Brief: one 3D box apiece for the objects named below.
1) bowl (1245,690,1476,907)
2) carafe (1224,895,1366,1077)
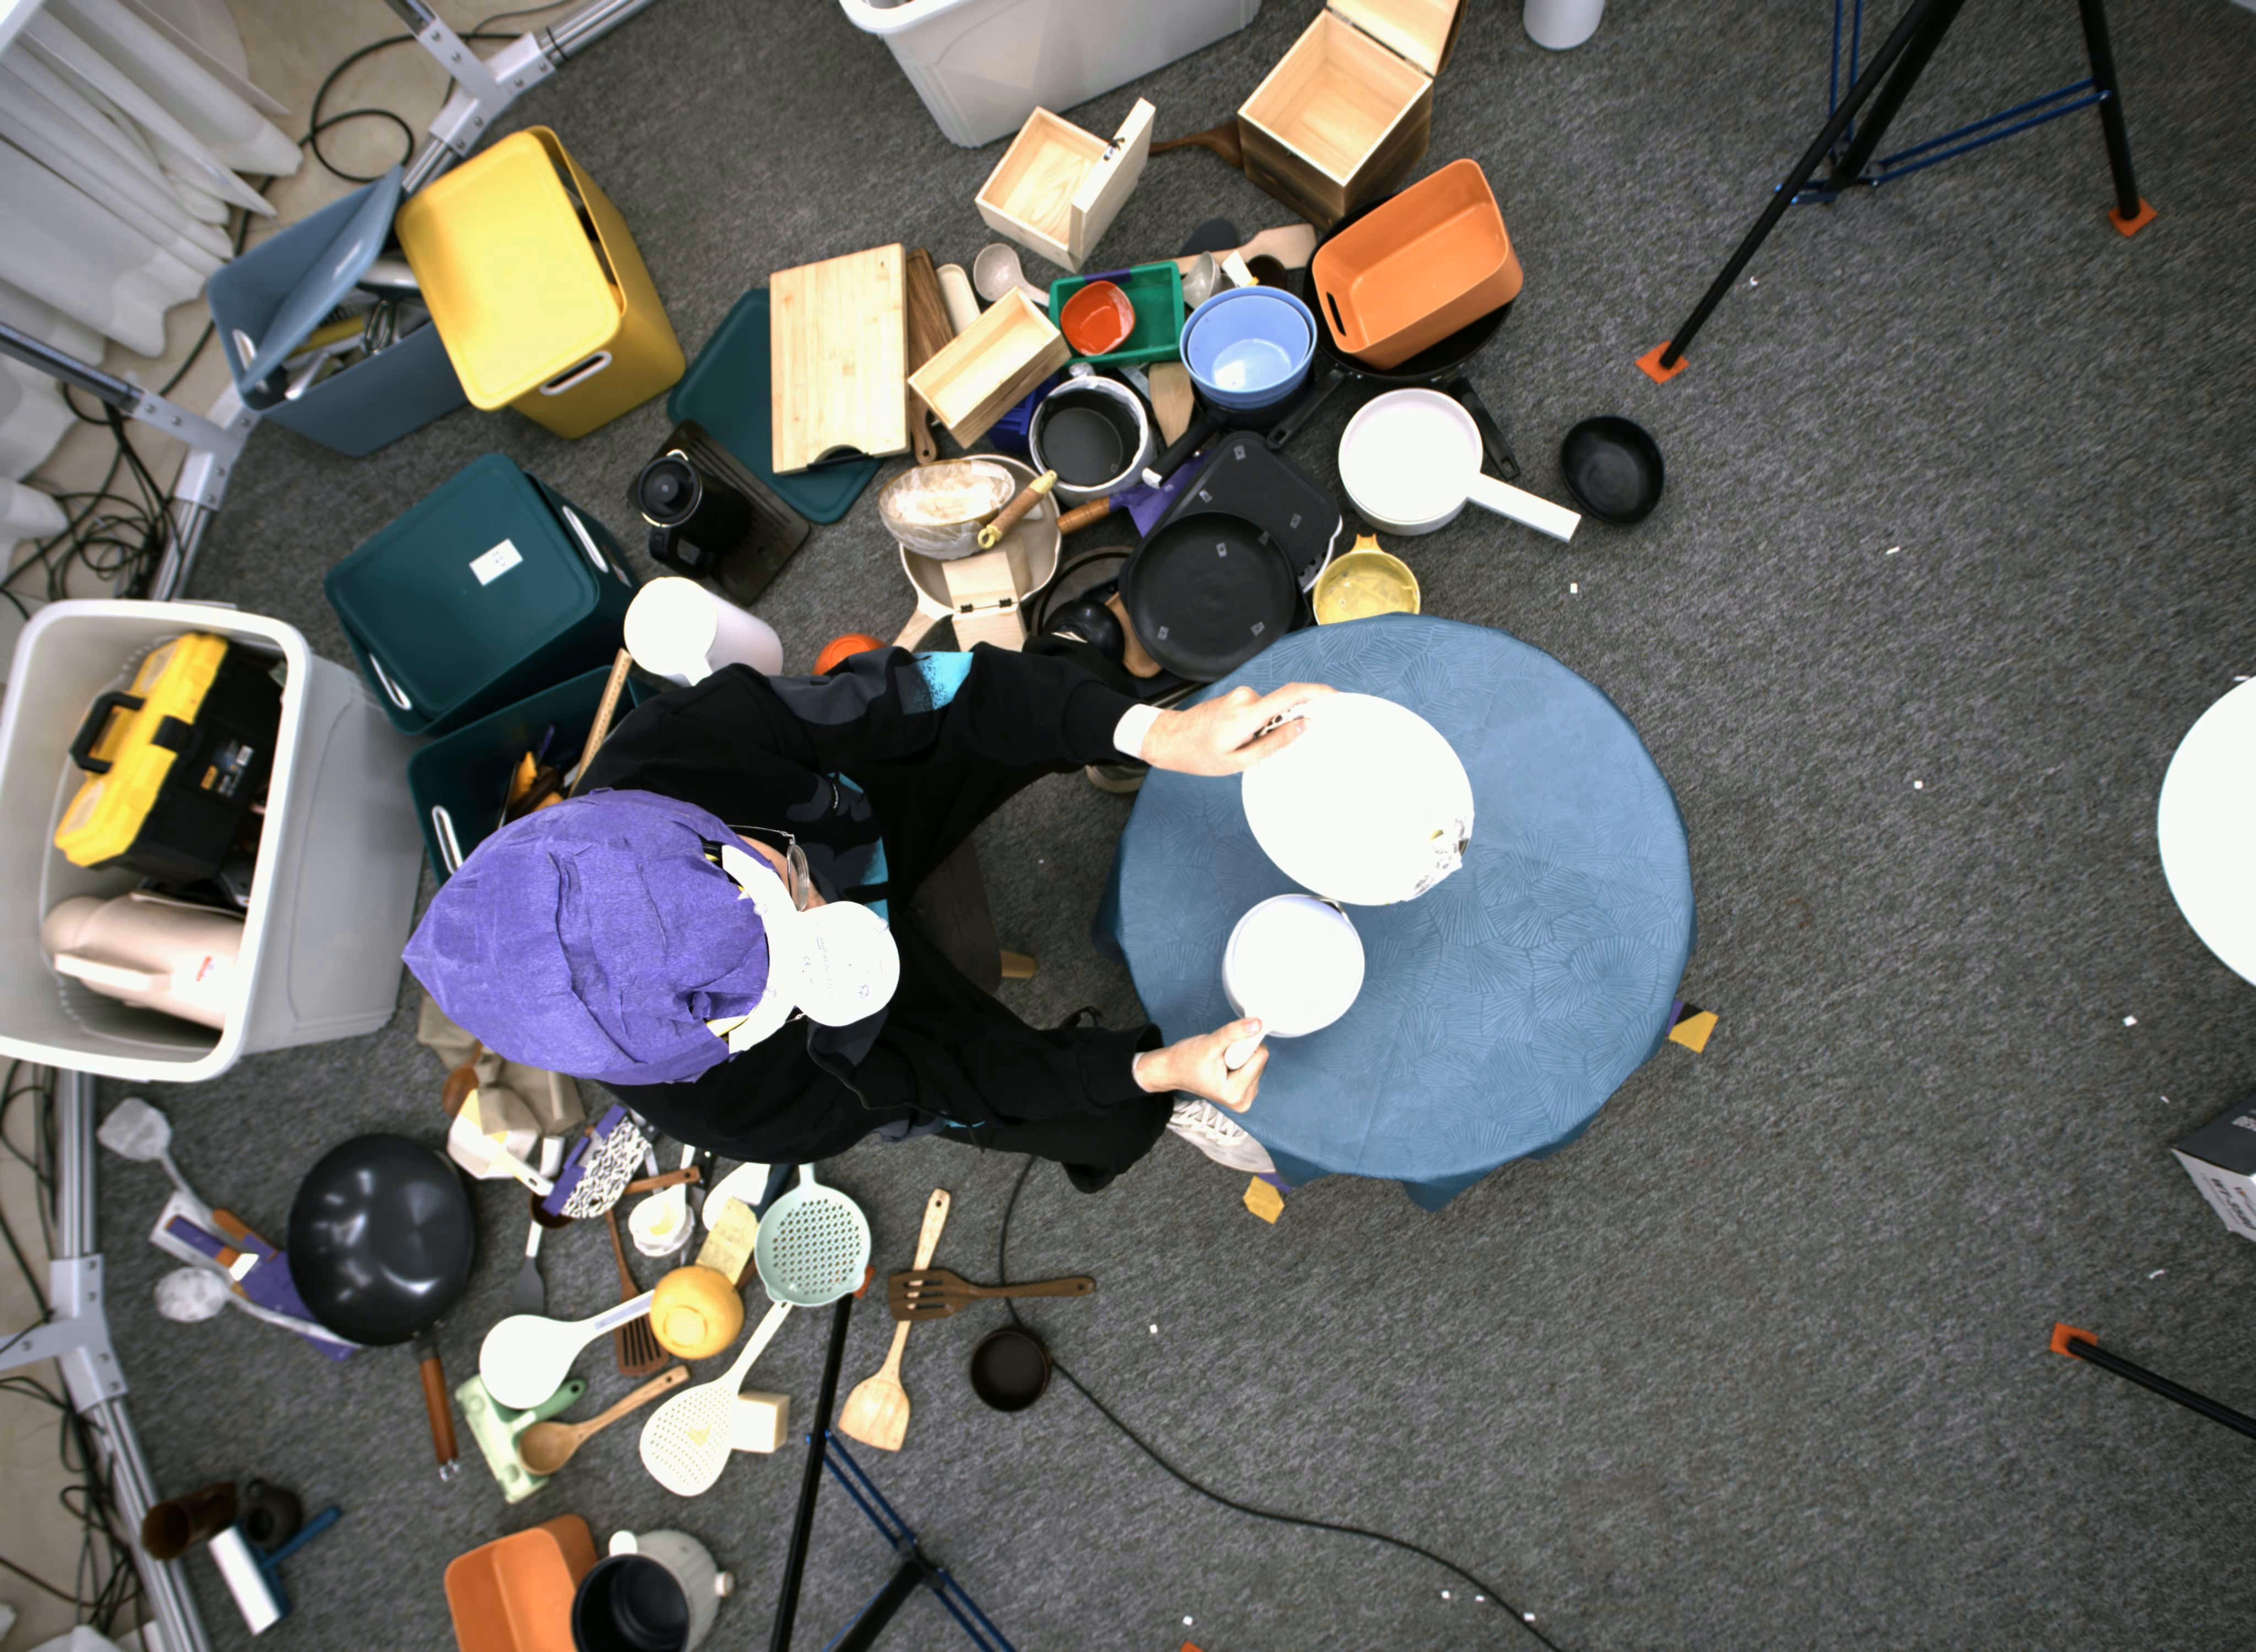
[{"bbox_3d":[0.210,-0.037,1.202,0.204,0.076,0.208,14,124,21],"label":"bowl"},{"bbox_3d":[0.147,0.158,1.343,0.132,0.183,0.190,30,87,8],"label":"carafe"}]
